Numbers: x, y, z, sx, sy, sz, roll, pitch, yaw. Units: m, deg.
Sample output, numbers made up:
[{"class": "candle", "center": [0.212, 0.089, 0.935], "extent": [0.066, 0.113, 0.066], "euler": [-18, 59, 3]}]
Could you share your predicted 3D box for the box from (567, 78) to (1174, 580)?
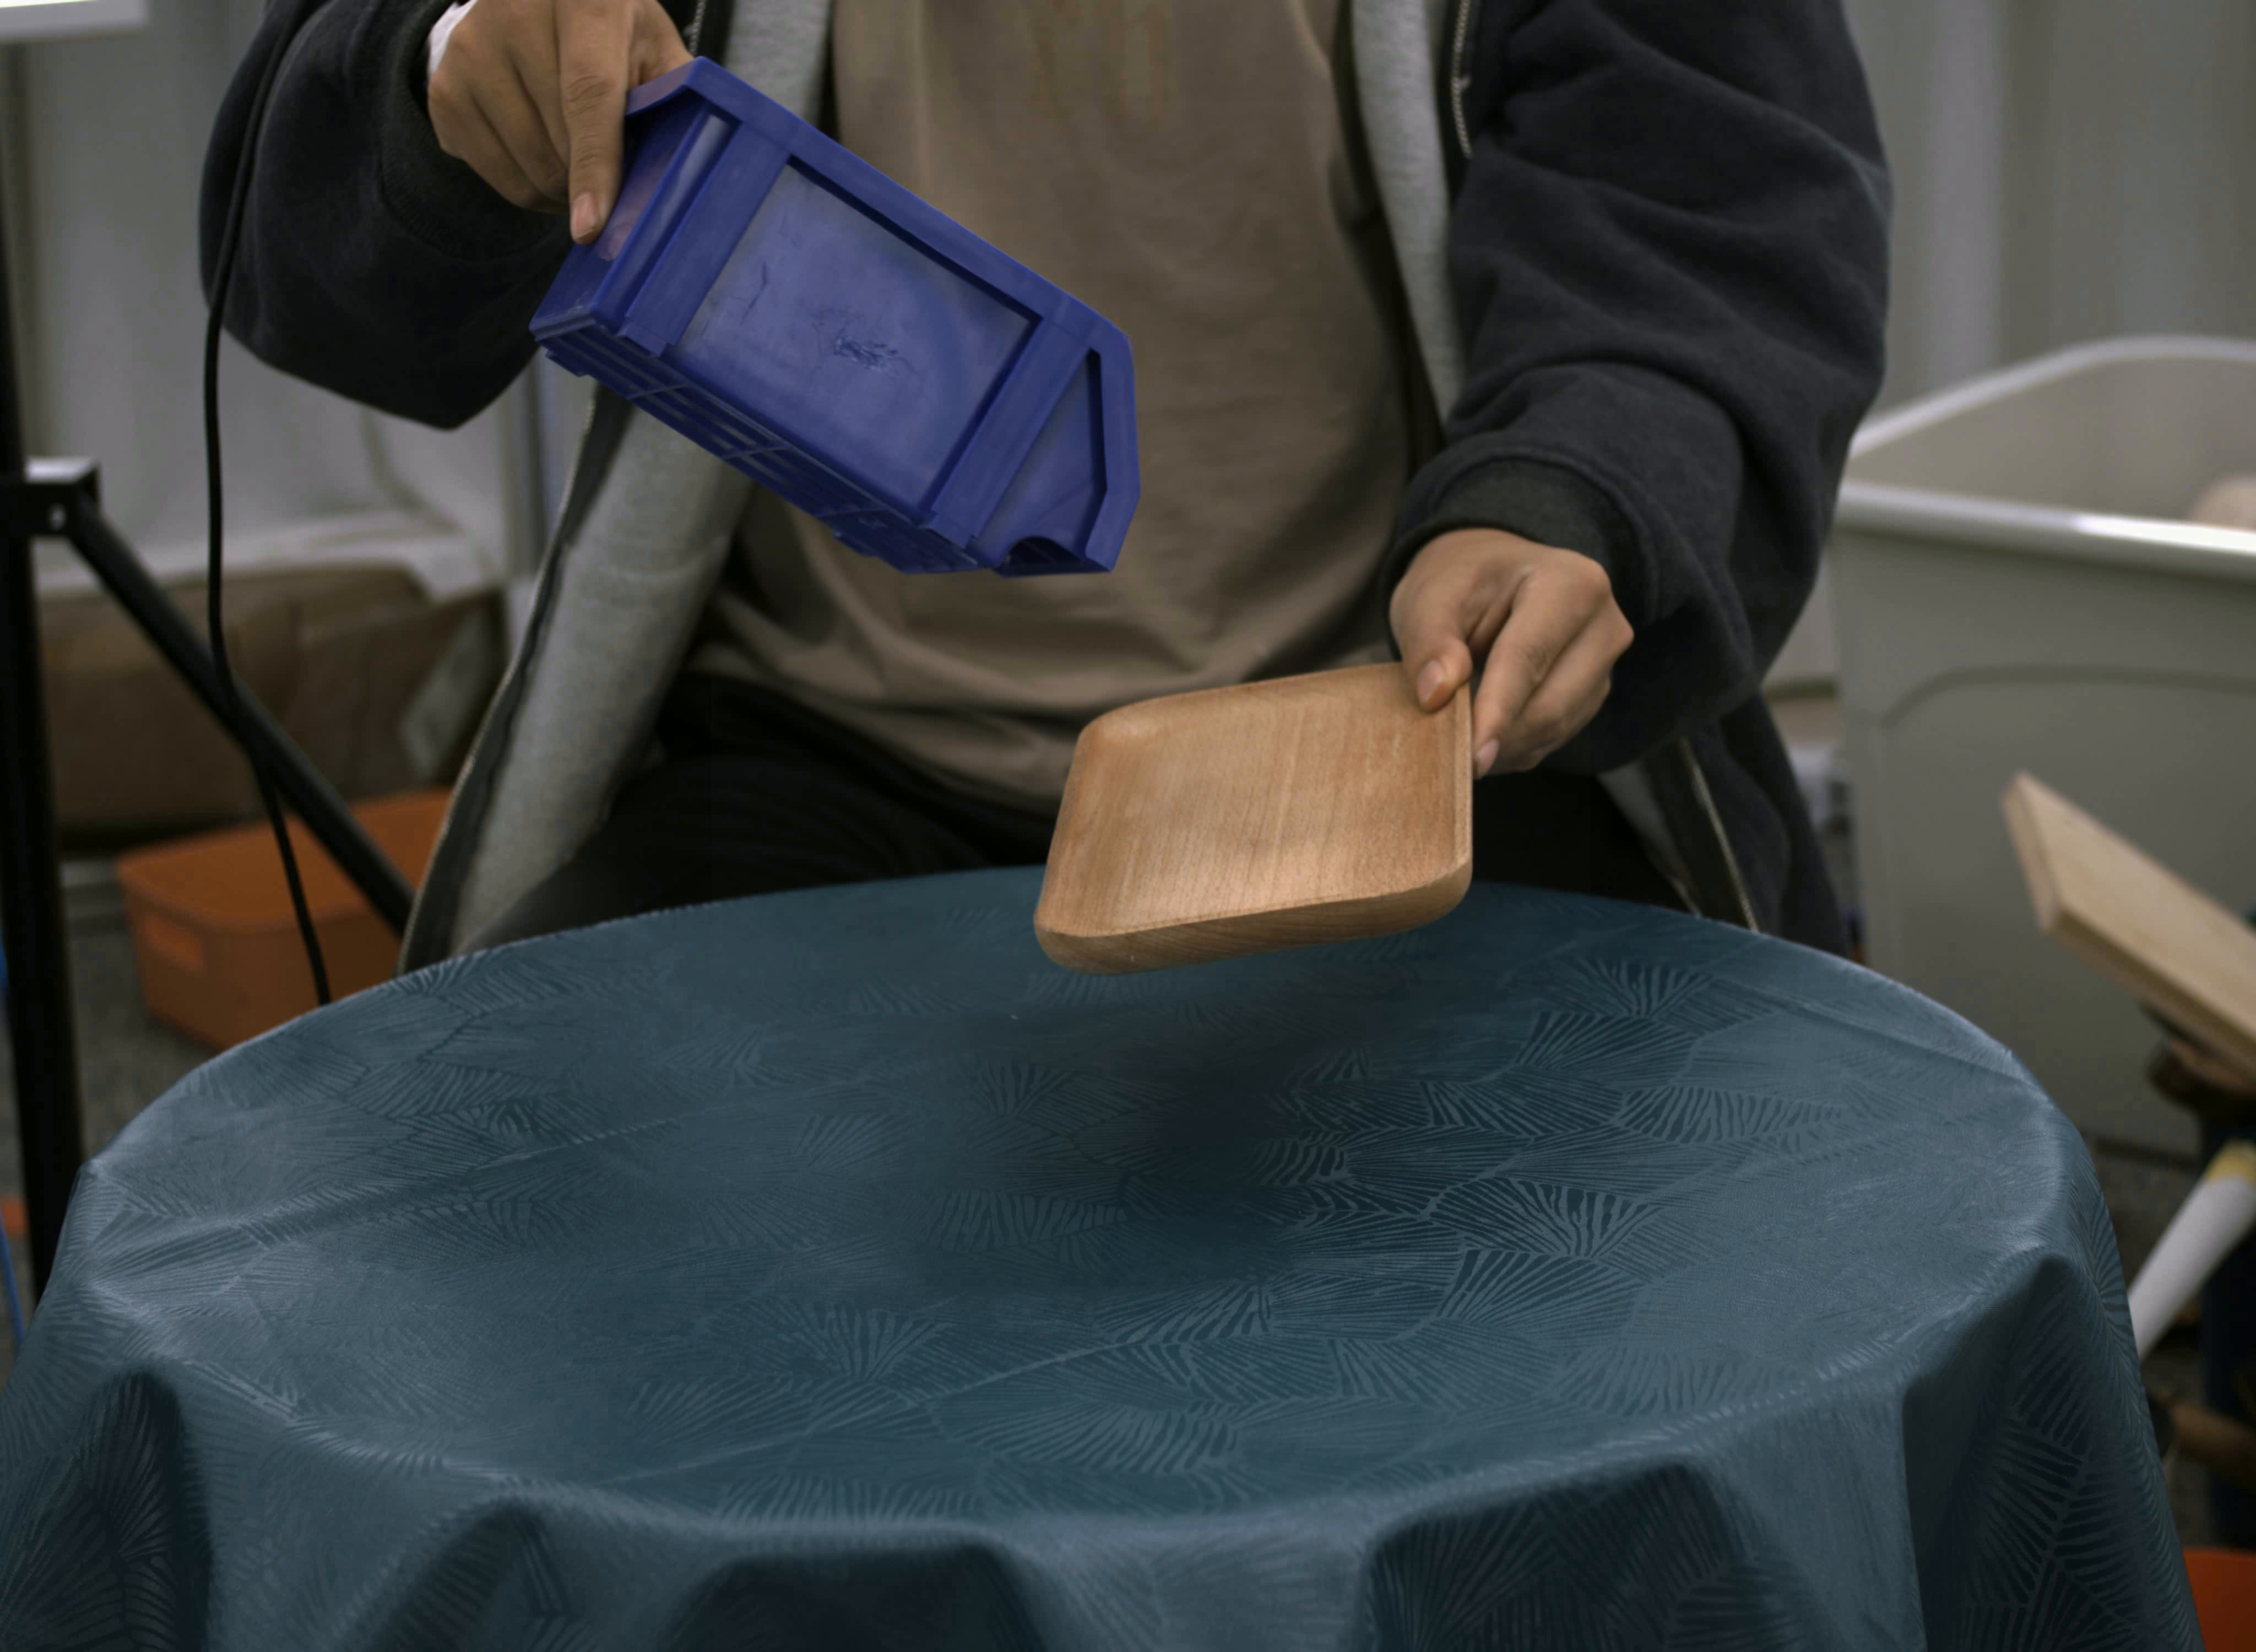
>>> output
[{"class": "box", "center": [-0.075, -0.137, 1.588], "extent": [0.177, 0.082, 0.126], "euler": [27, -6, -11]}]

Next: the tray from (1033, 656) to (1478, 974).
[{"class": "tray", "center": [0.042, -0.005, 1.604], "extent": [0.130, 0.023, 0.251], "euler": [-6, 16, 6]}]
